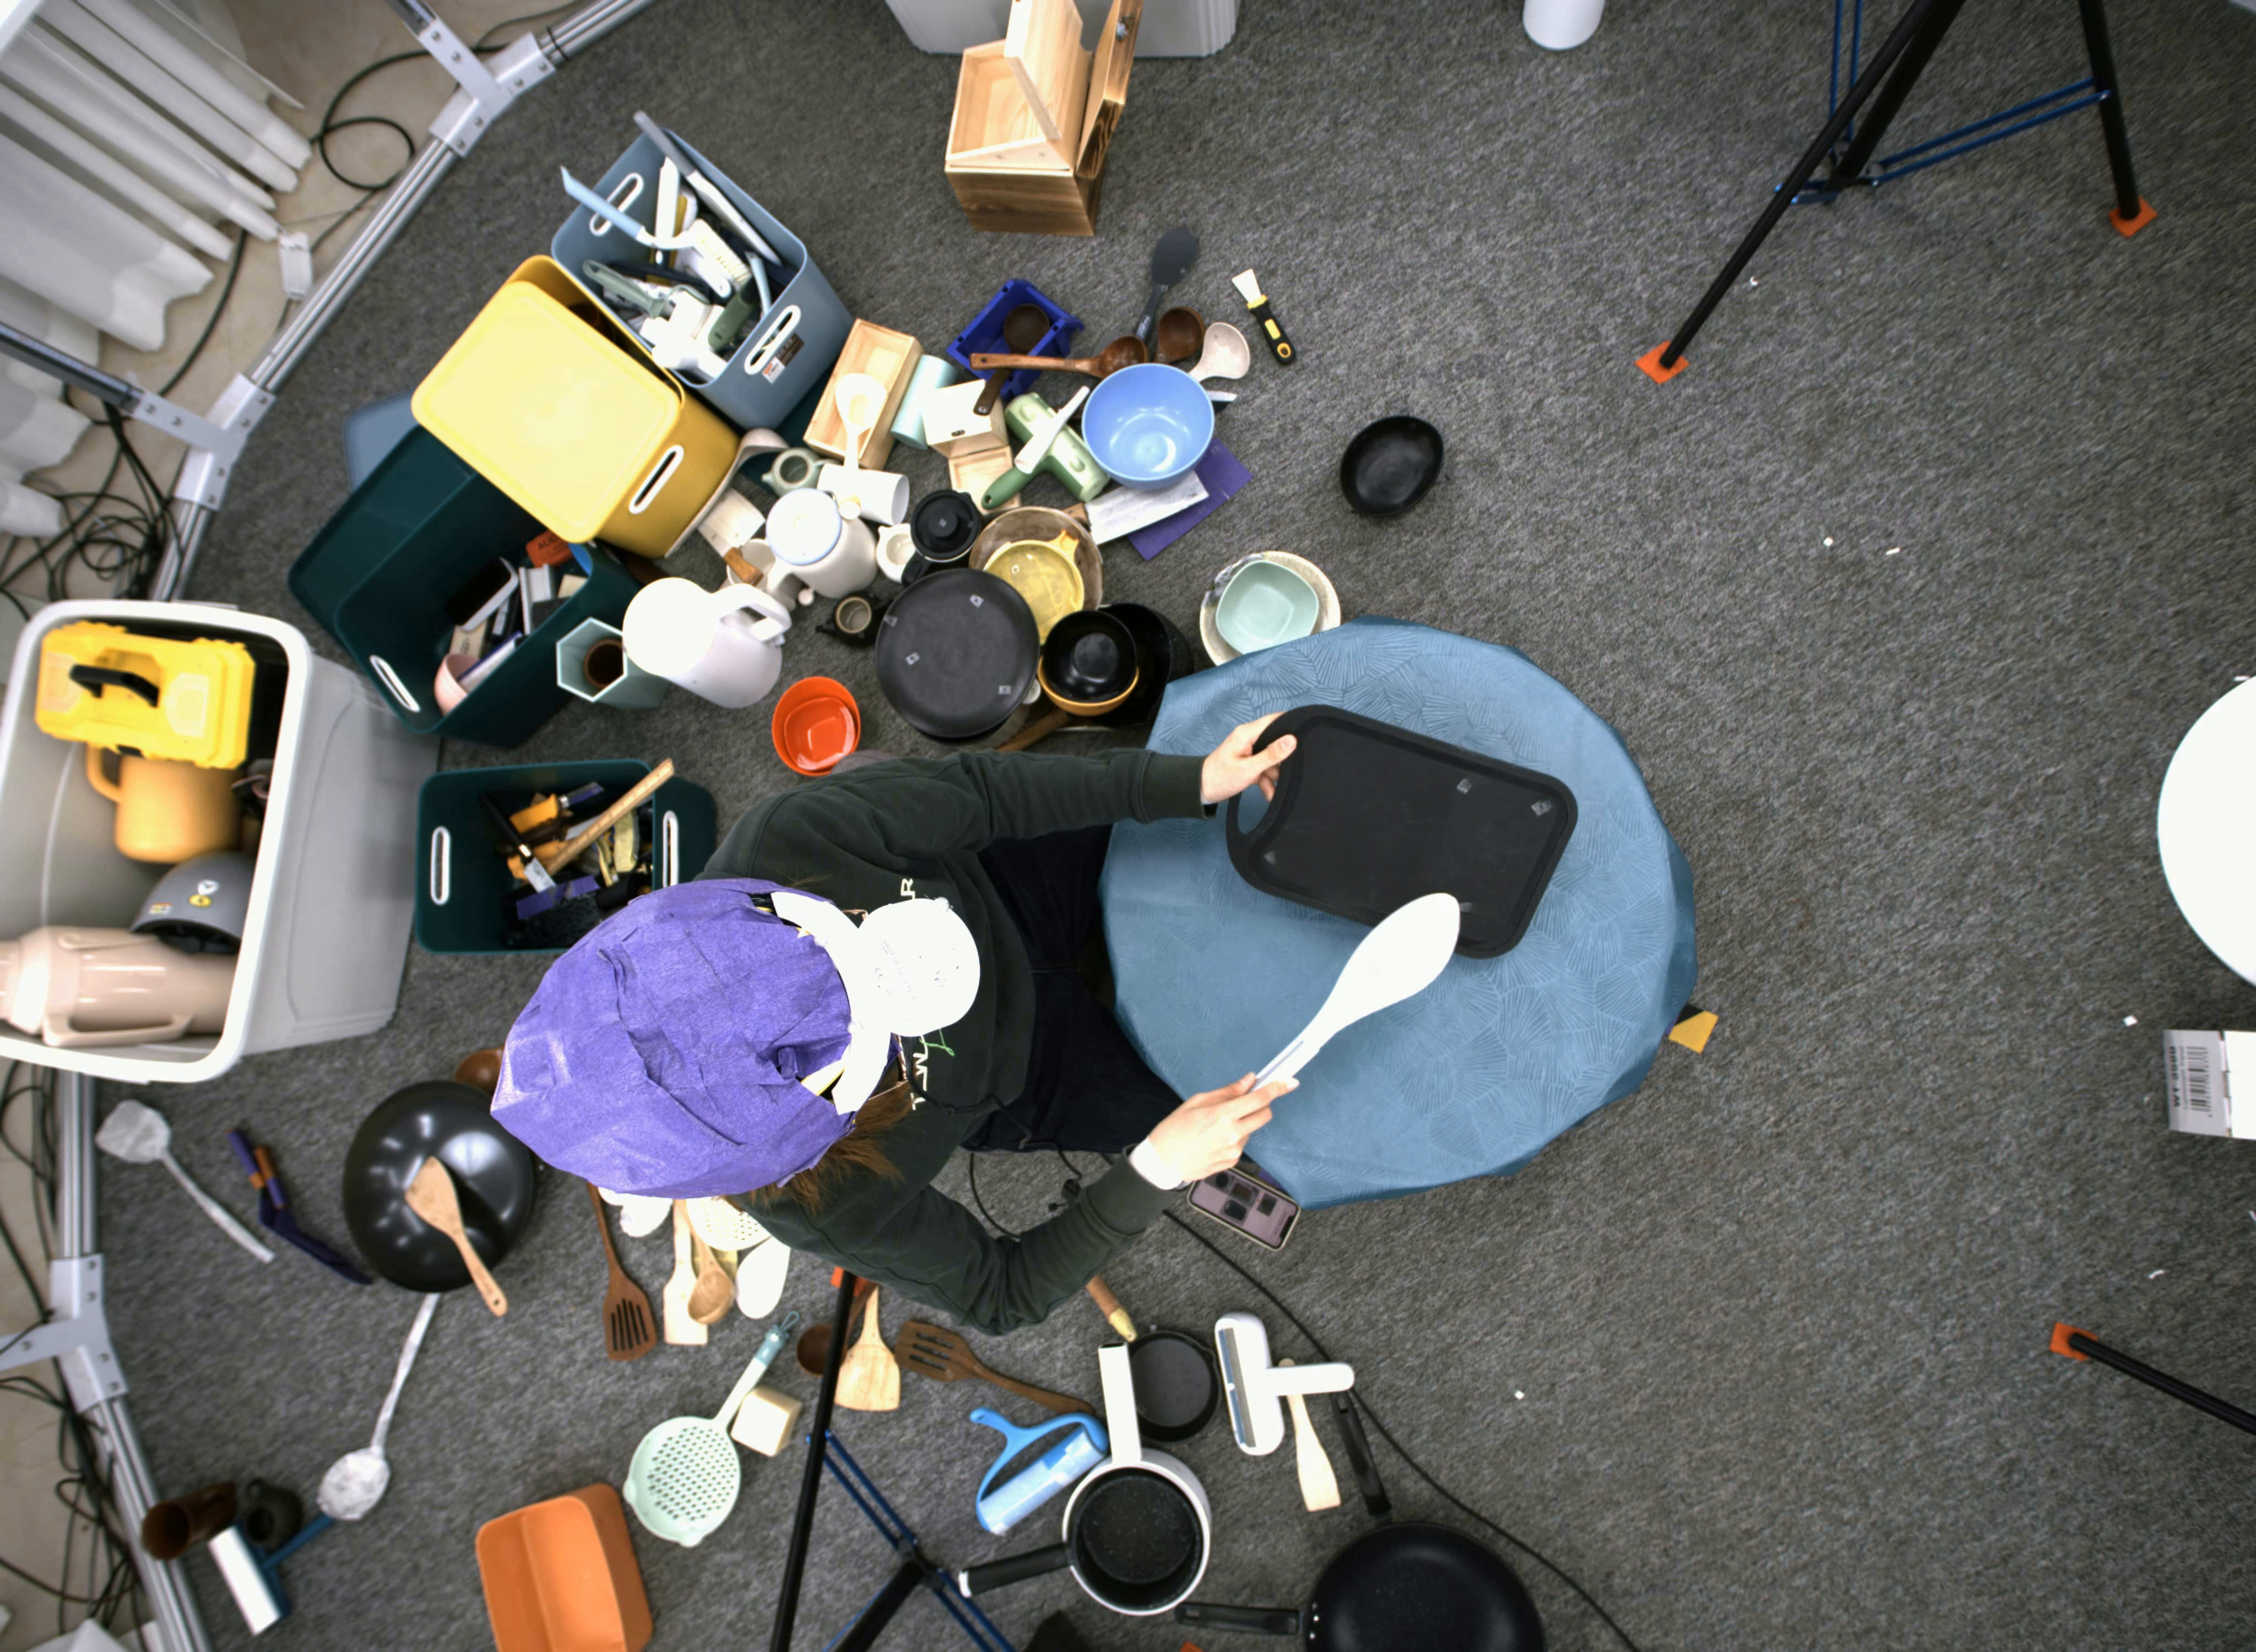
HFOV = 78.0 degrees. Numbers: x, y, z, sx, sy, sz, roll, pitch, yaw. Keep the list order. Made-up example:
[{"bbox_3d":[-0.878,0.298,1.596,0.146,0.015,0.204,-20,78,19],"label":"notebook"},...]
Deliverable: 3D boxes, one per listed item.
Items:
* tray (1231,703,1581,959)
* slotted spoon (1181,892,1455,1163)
[{"bbox_3d":[0.263,0.006,1.350,0.326,0.009,0.215,18,117,0],"label":"tray"},{"bbox_3d":[0.180,0.191,1.306,0.350,0.135,0.046,-40,101,2],"label":"slotted spoon"}]
